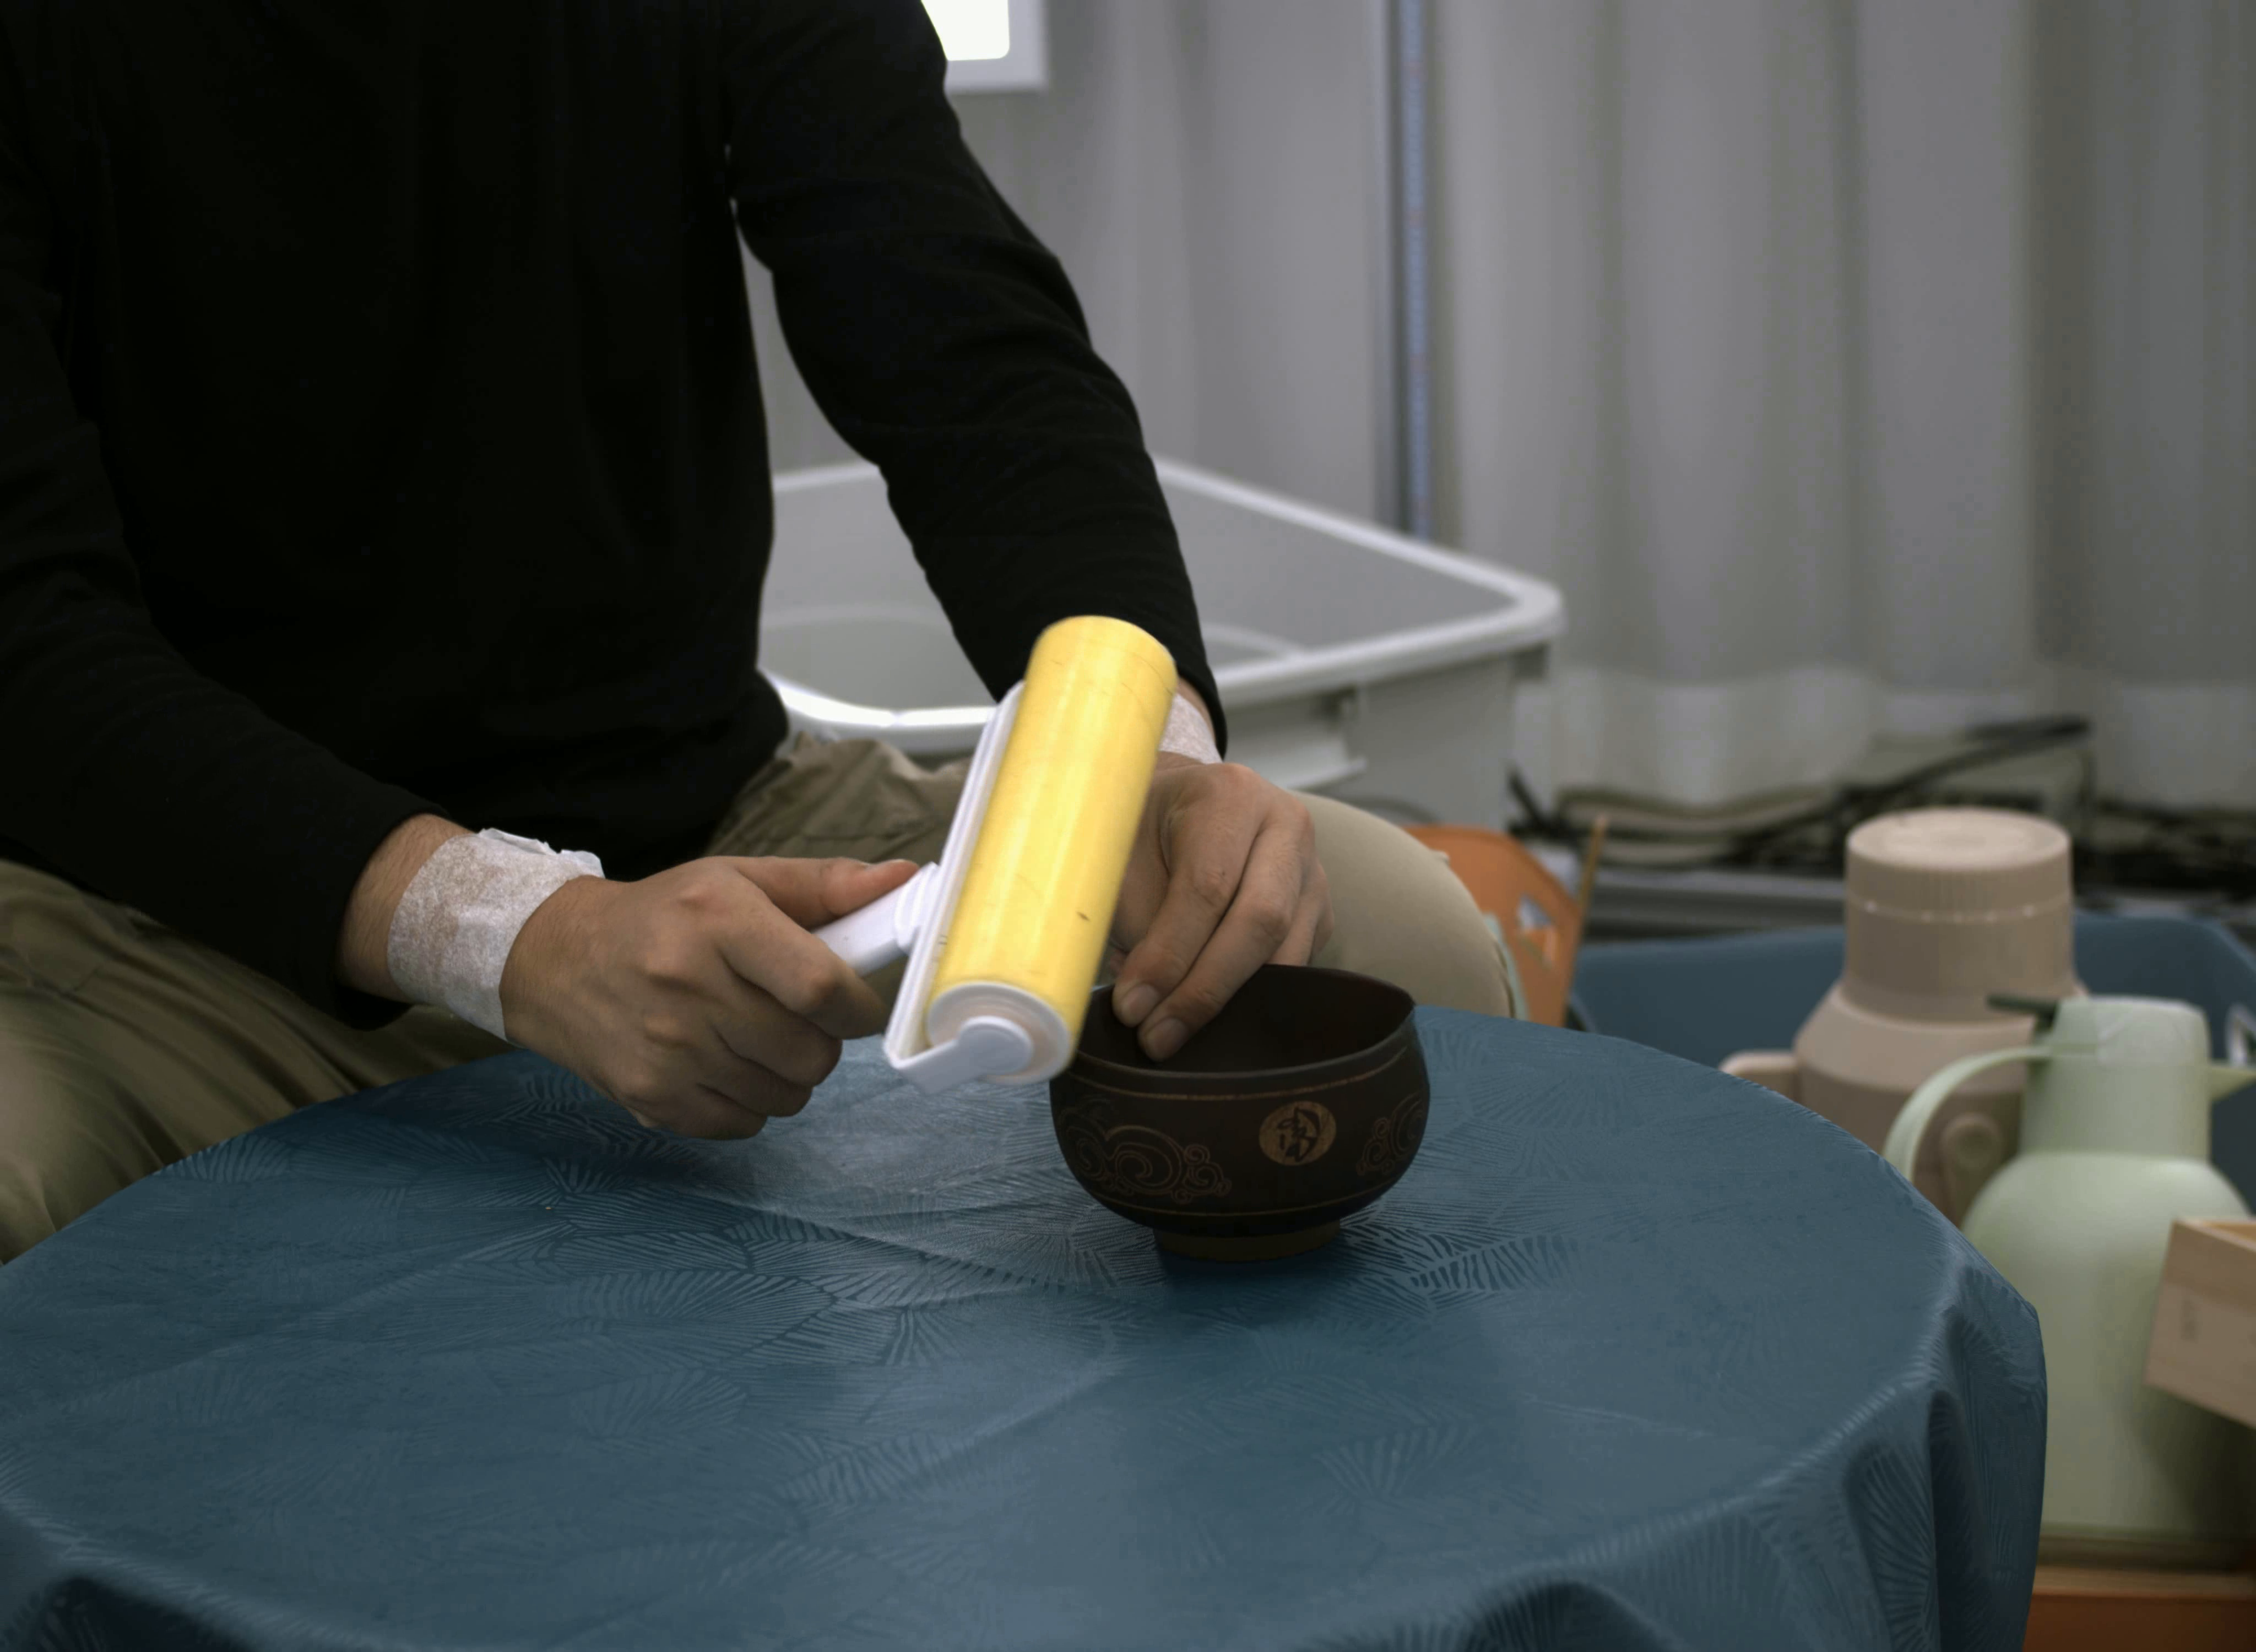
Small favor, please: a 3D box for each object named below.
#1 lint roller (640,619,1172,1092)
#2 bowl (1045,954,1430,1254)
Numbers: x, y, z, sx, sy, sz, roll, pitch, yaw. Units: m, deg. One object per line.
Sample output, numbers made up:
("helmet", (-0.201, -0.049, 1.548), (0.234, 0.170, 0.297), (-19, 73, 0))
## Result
("lint roller", (-0.083, 0.027, 1.703), (0.191, 0.051, 0.176), (-17, 37, 27))
("bowl", (0.033, 0.088, 1.662), (0.117, 0.069, 0.119), (-2, 15, 0))
